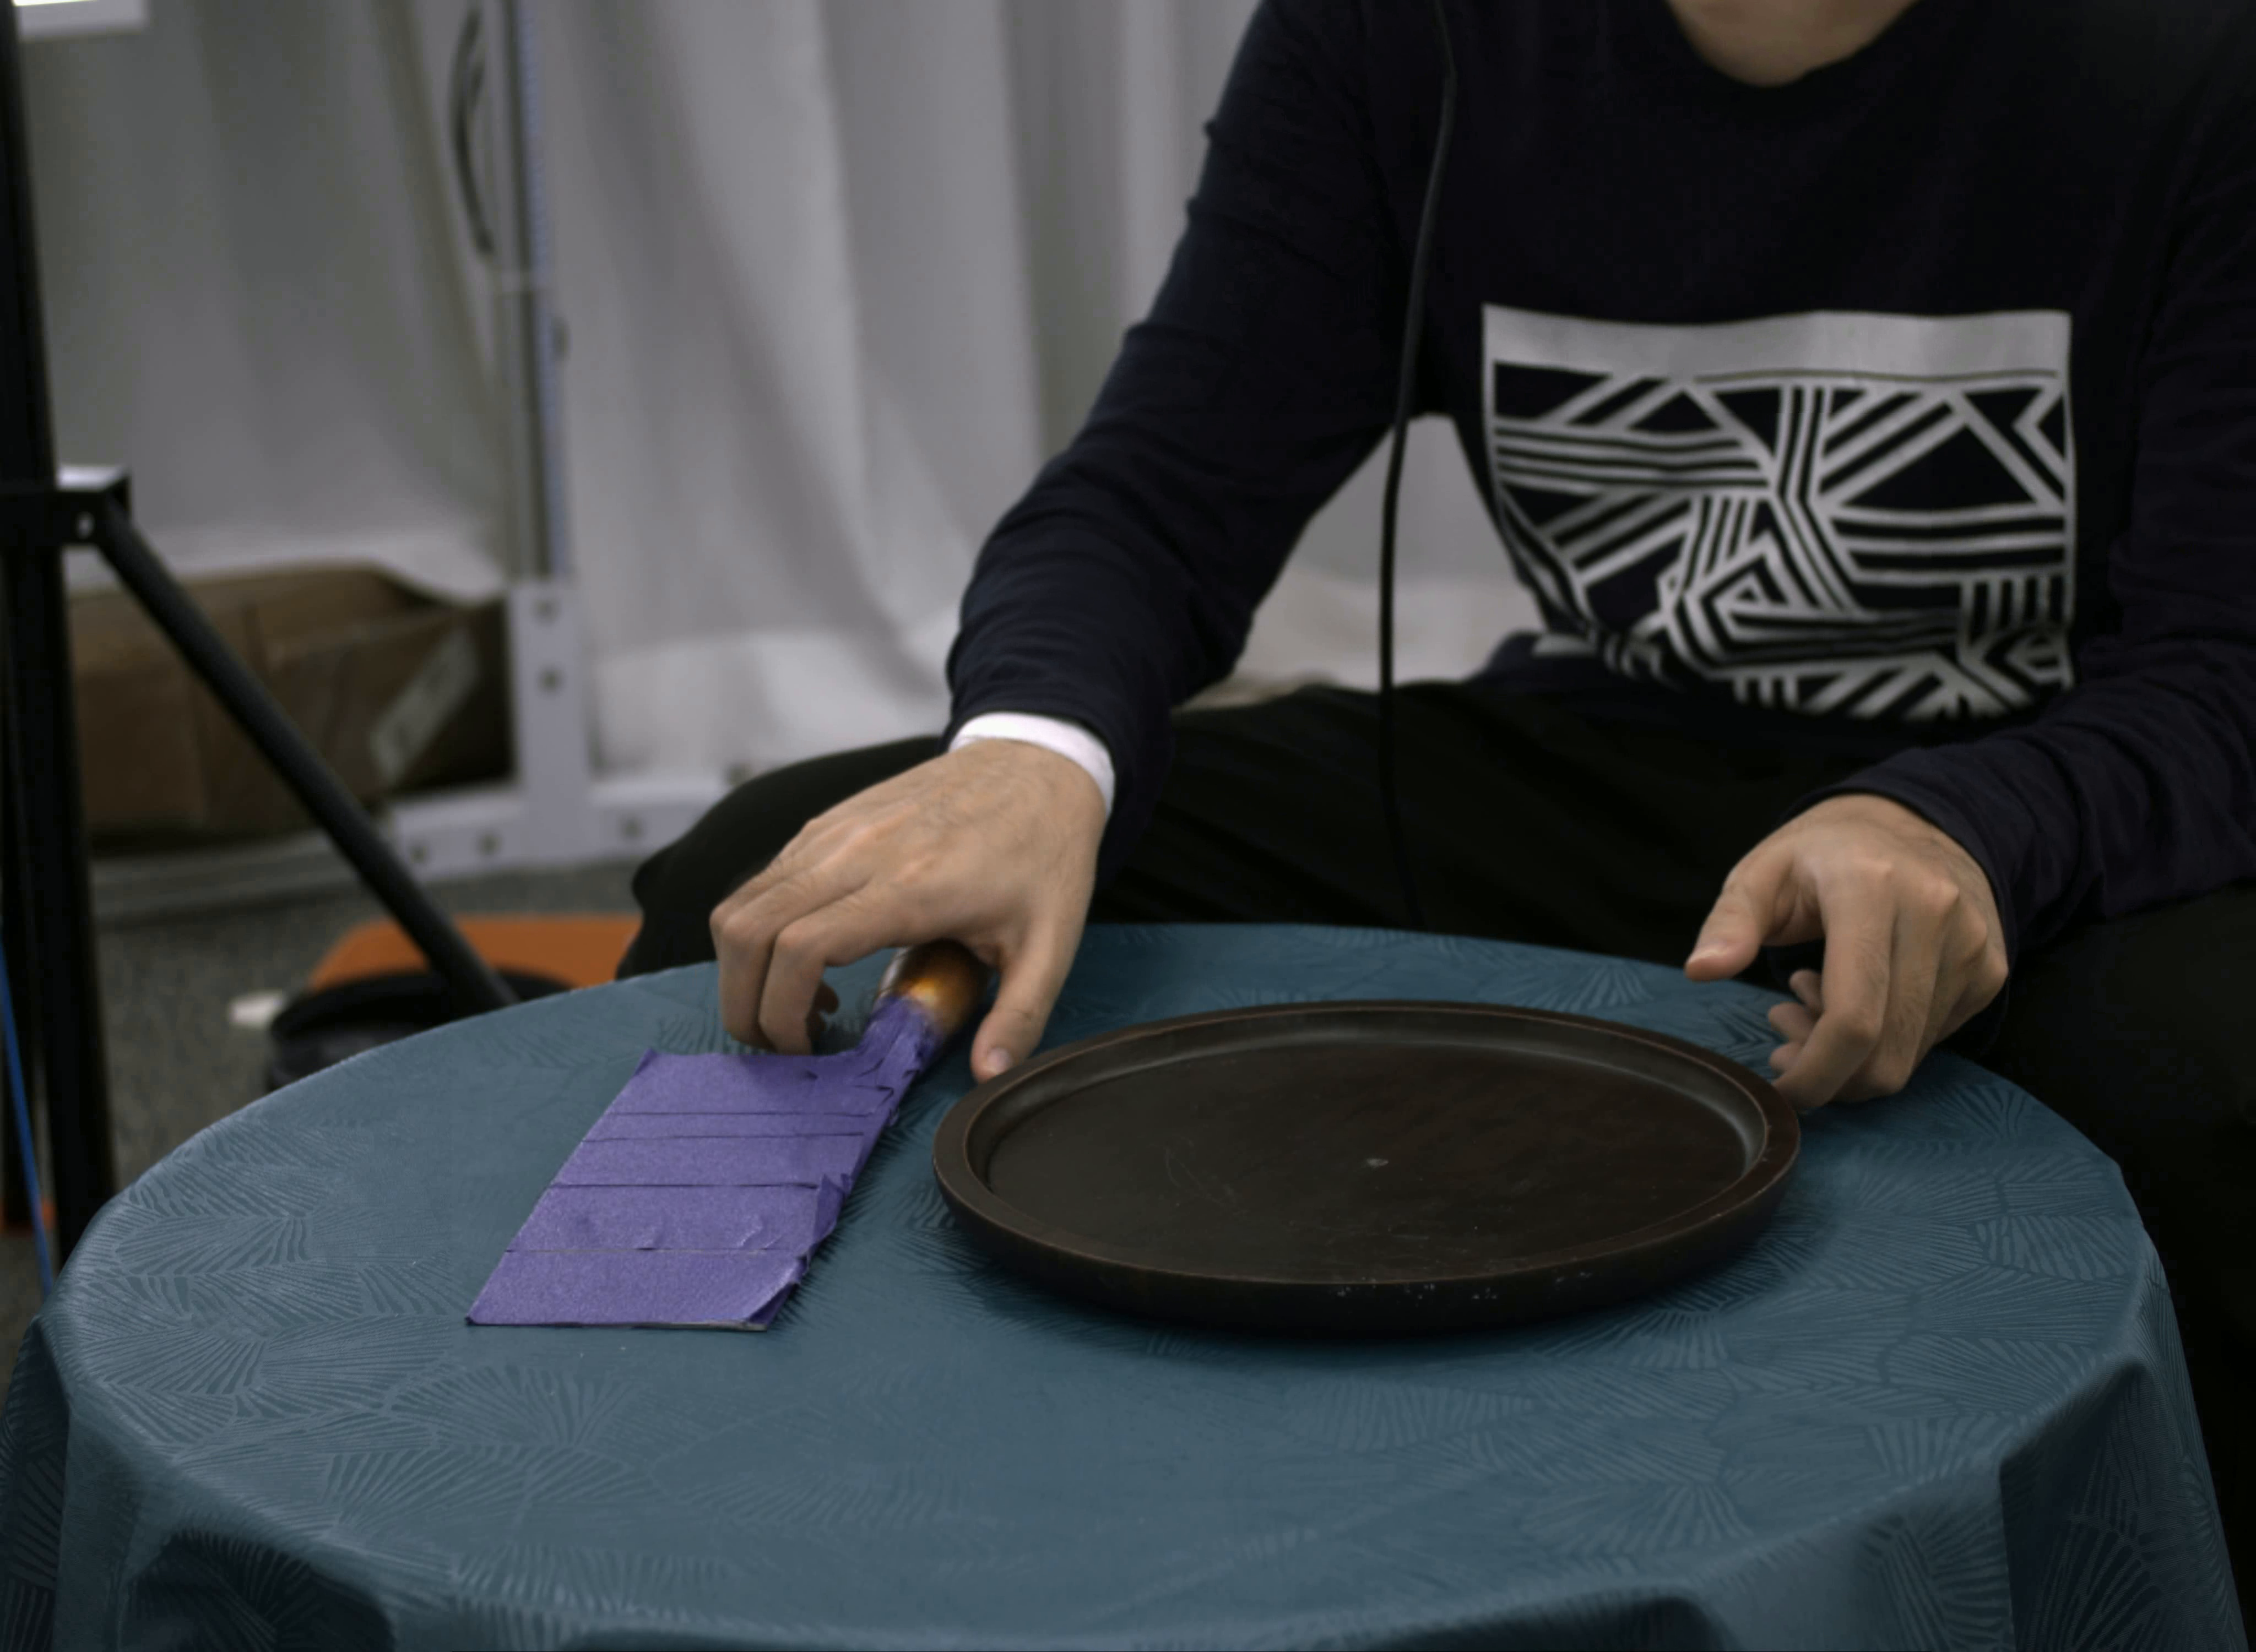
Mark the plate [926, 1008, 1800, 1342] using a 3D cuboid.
[{"bbox_3d":[0.068,0.098,1.542,0.253,0.029,0.256,-3,17,-1],"label":"plate"}]

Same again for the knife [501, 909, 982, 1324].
[{"bbox_3d":[-0.114,0.085,1.613,0.104,0.032,0.314,0,16,10],"label":"knife"}]
